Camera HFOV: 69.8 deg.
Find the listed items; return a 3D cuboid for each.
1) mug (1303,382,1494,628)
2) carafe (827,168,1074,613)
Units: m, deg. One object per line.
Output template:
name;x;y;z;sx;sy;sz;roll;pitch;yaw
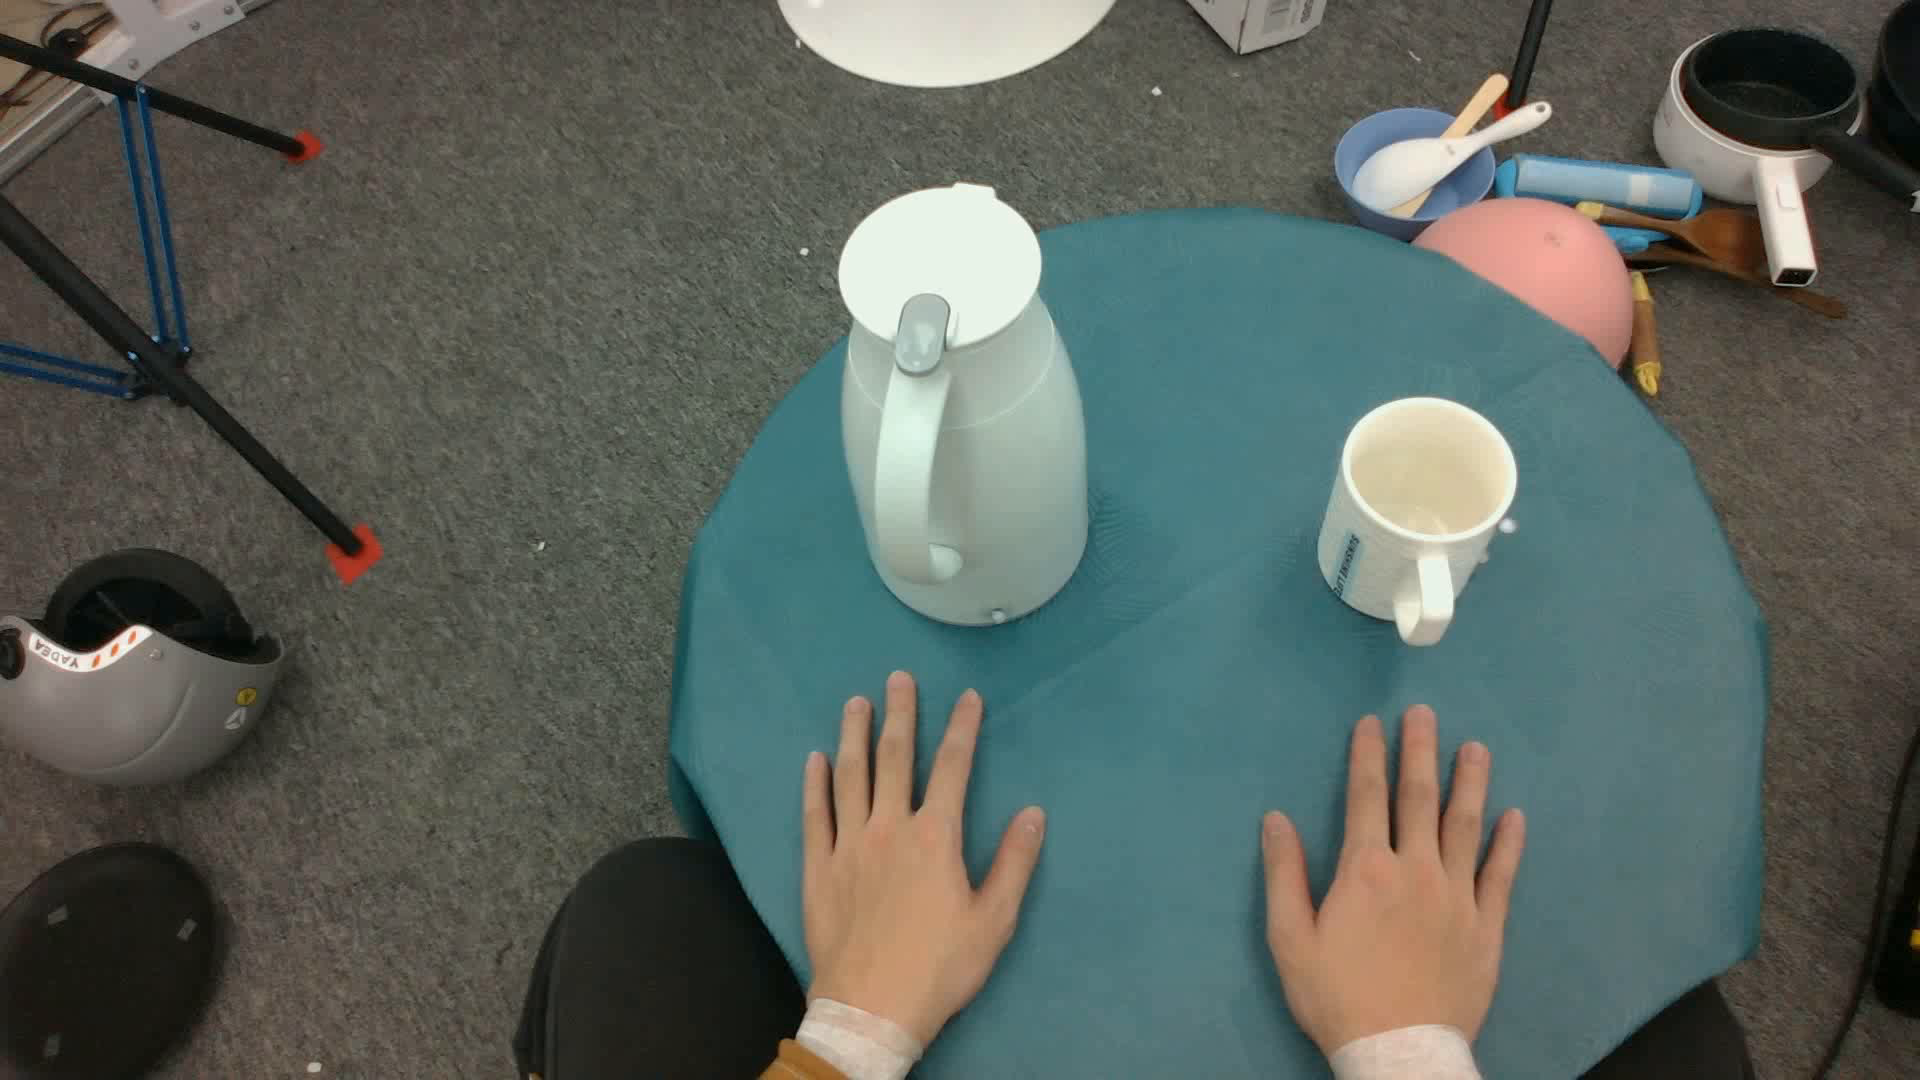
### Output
mug;0.235;-0.009;0.743;0.085;0.101;0.119;-3;61;4
carafe;-0.009;-0.057;0.706;0.132;0.247;0.168;8;63;8
